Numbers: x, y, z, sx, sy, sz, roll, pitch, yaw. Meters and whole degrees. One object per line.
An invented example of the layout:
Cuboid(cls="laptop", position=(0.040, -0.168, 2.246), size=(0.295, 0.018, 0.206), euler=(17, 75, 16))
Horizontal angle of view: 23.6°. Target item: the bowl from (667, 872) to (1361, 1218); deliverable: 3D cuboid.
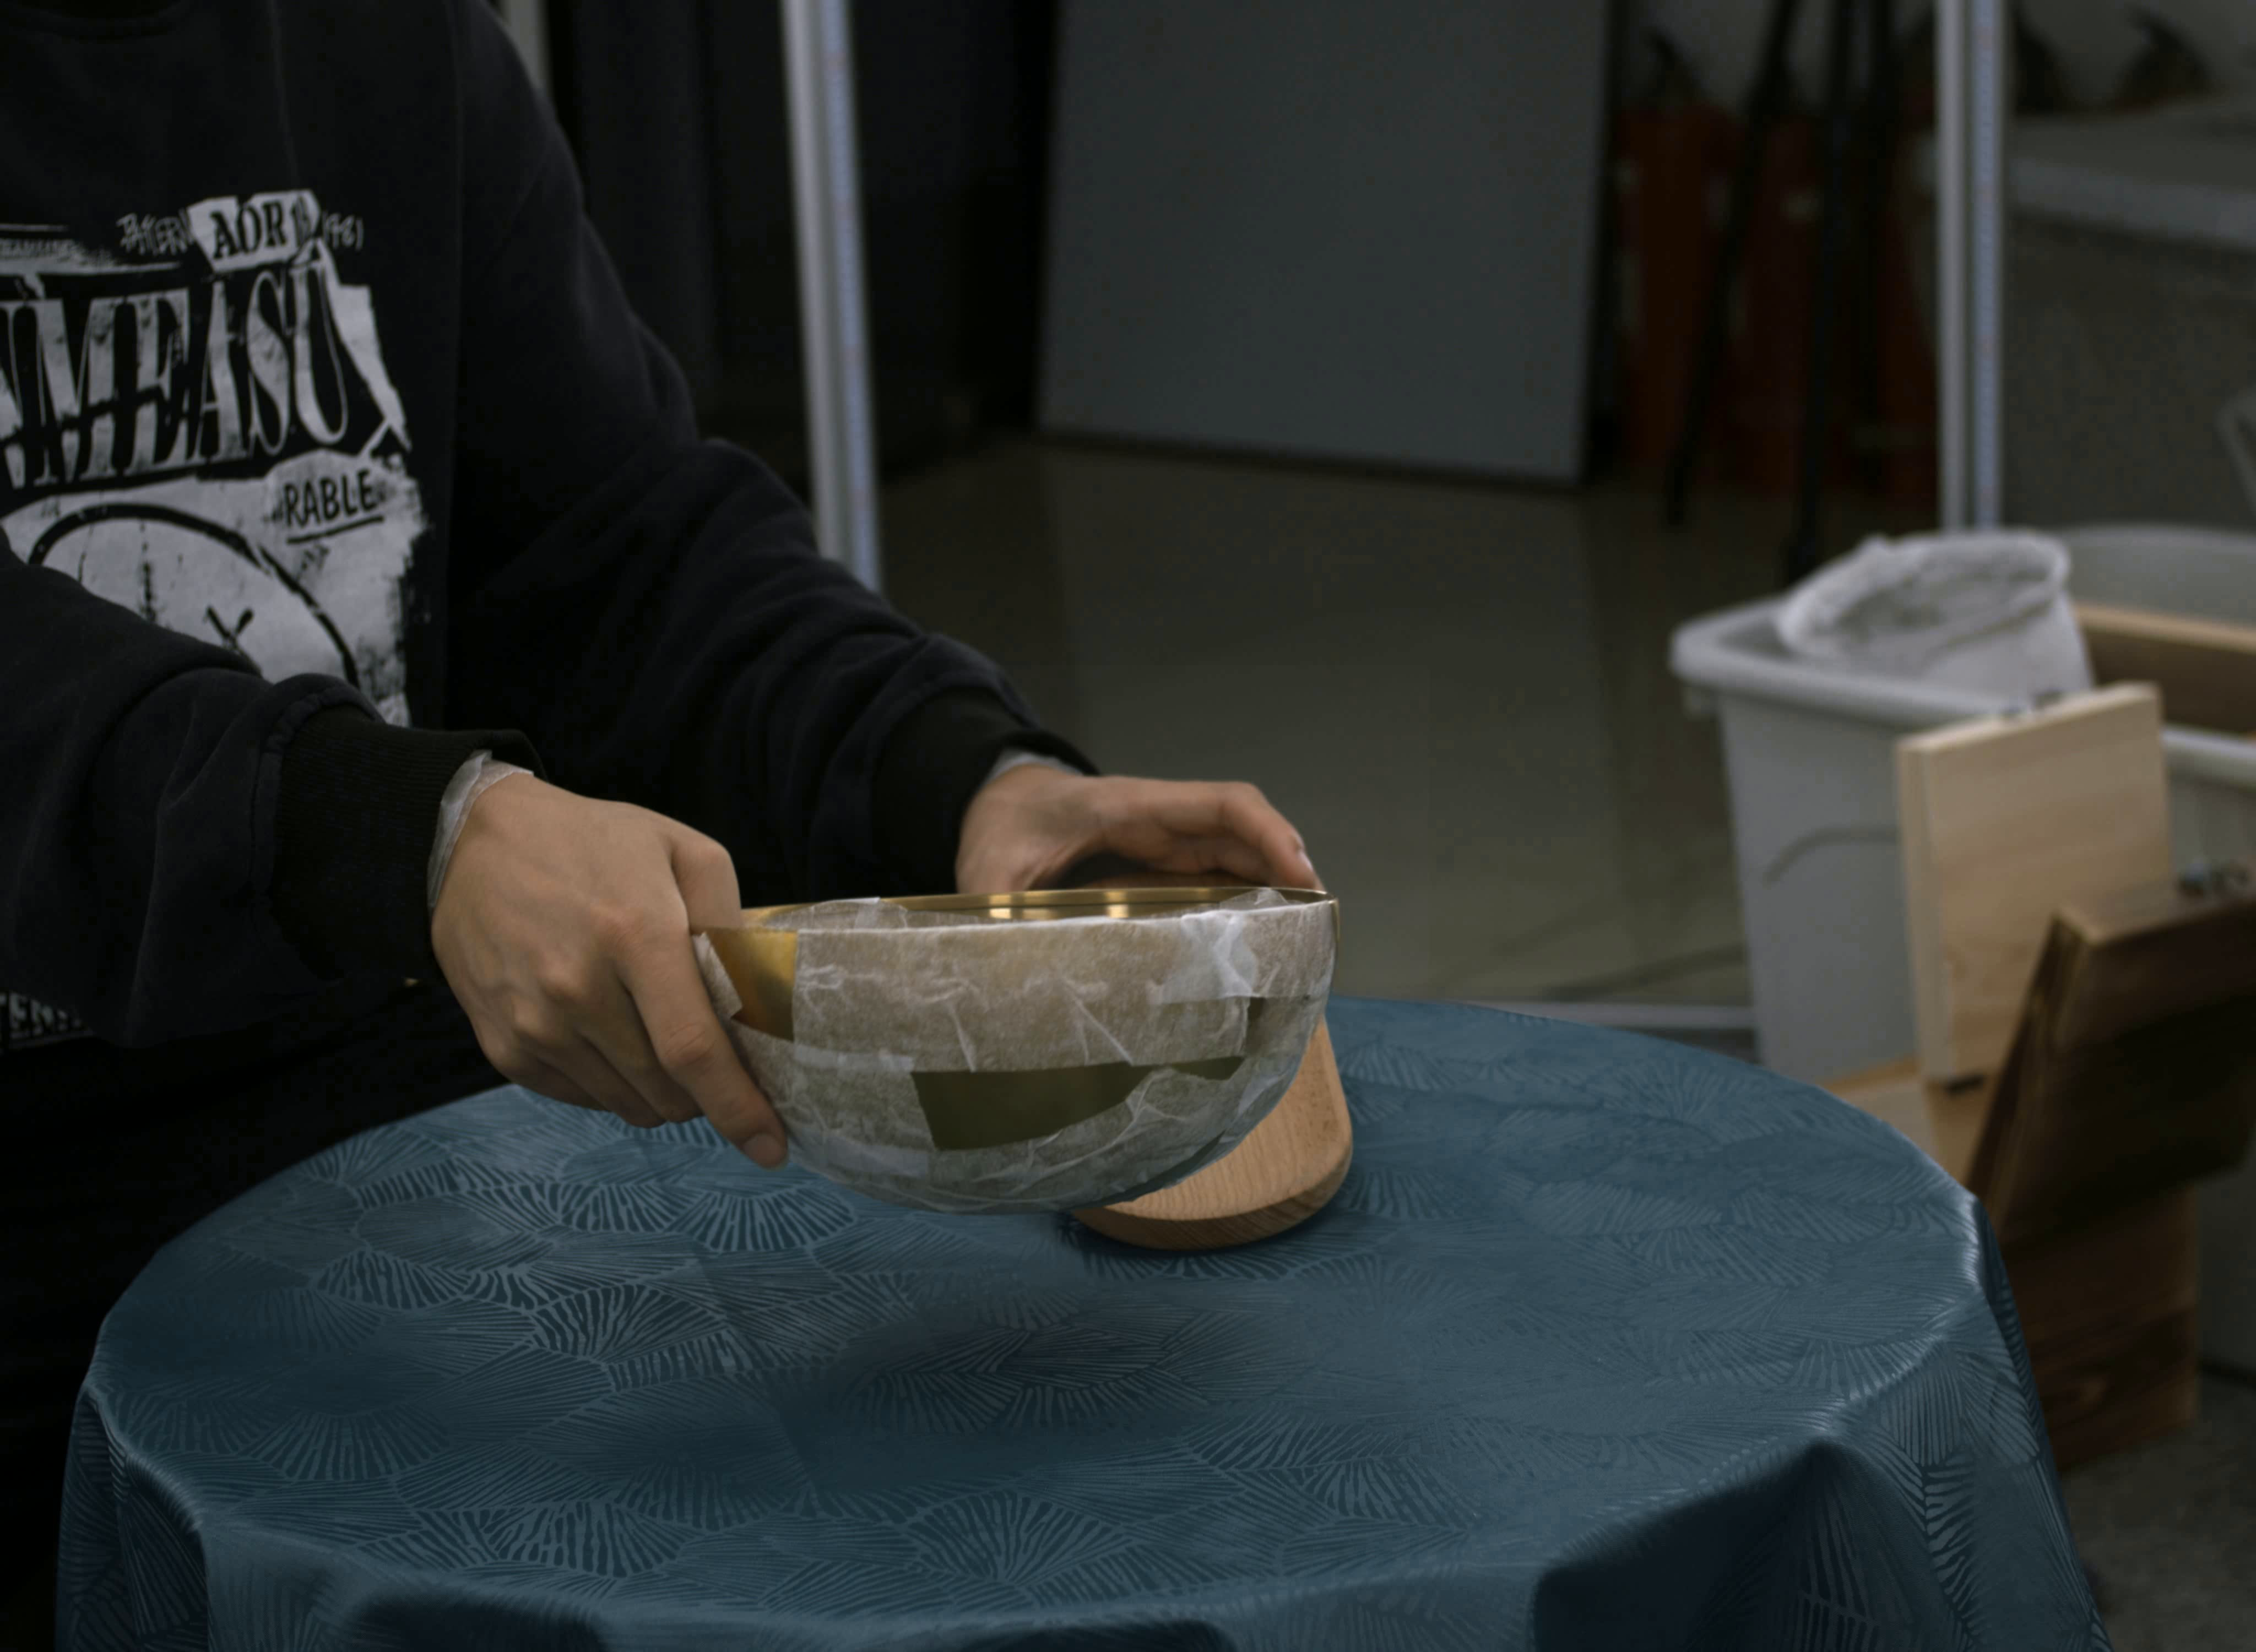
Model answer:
Cuboid(cls="bowl", position=(-0.033, 0.067, 1.609), size=(0.212, 0.096, 0.215), euler=(-4, 2, -1))

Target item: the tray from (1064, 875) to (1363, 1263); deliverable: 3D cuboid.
Cuboid(cls="tray", position=(0.019, 0.078, 1.800), size=(0.100, 0.020, 0.233), euler=(-10, 30, -2))
